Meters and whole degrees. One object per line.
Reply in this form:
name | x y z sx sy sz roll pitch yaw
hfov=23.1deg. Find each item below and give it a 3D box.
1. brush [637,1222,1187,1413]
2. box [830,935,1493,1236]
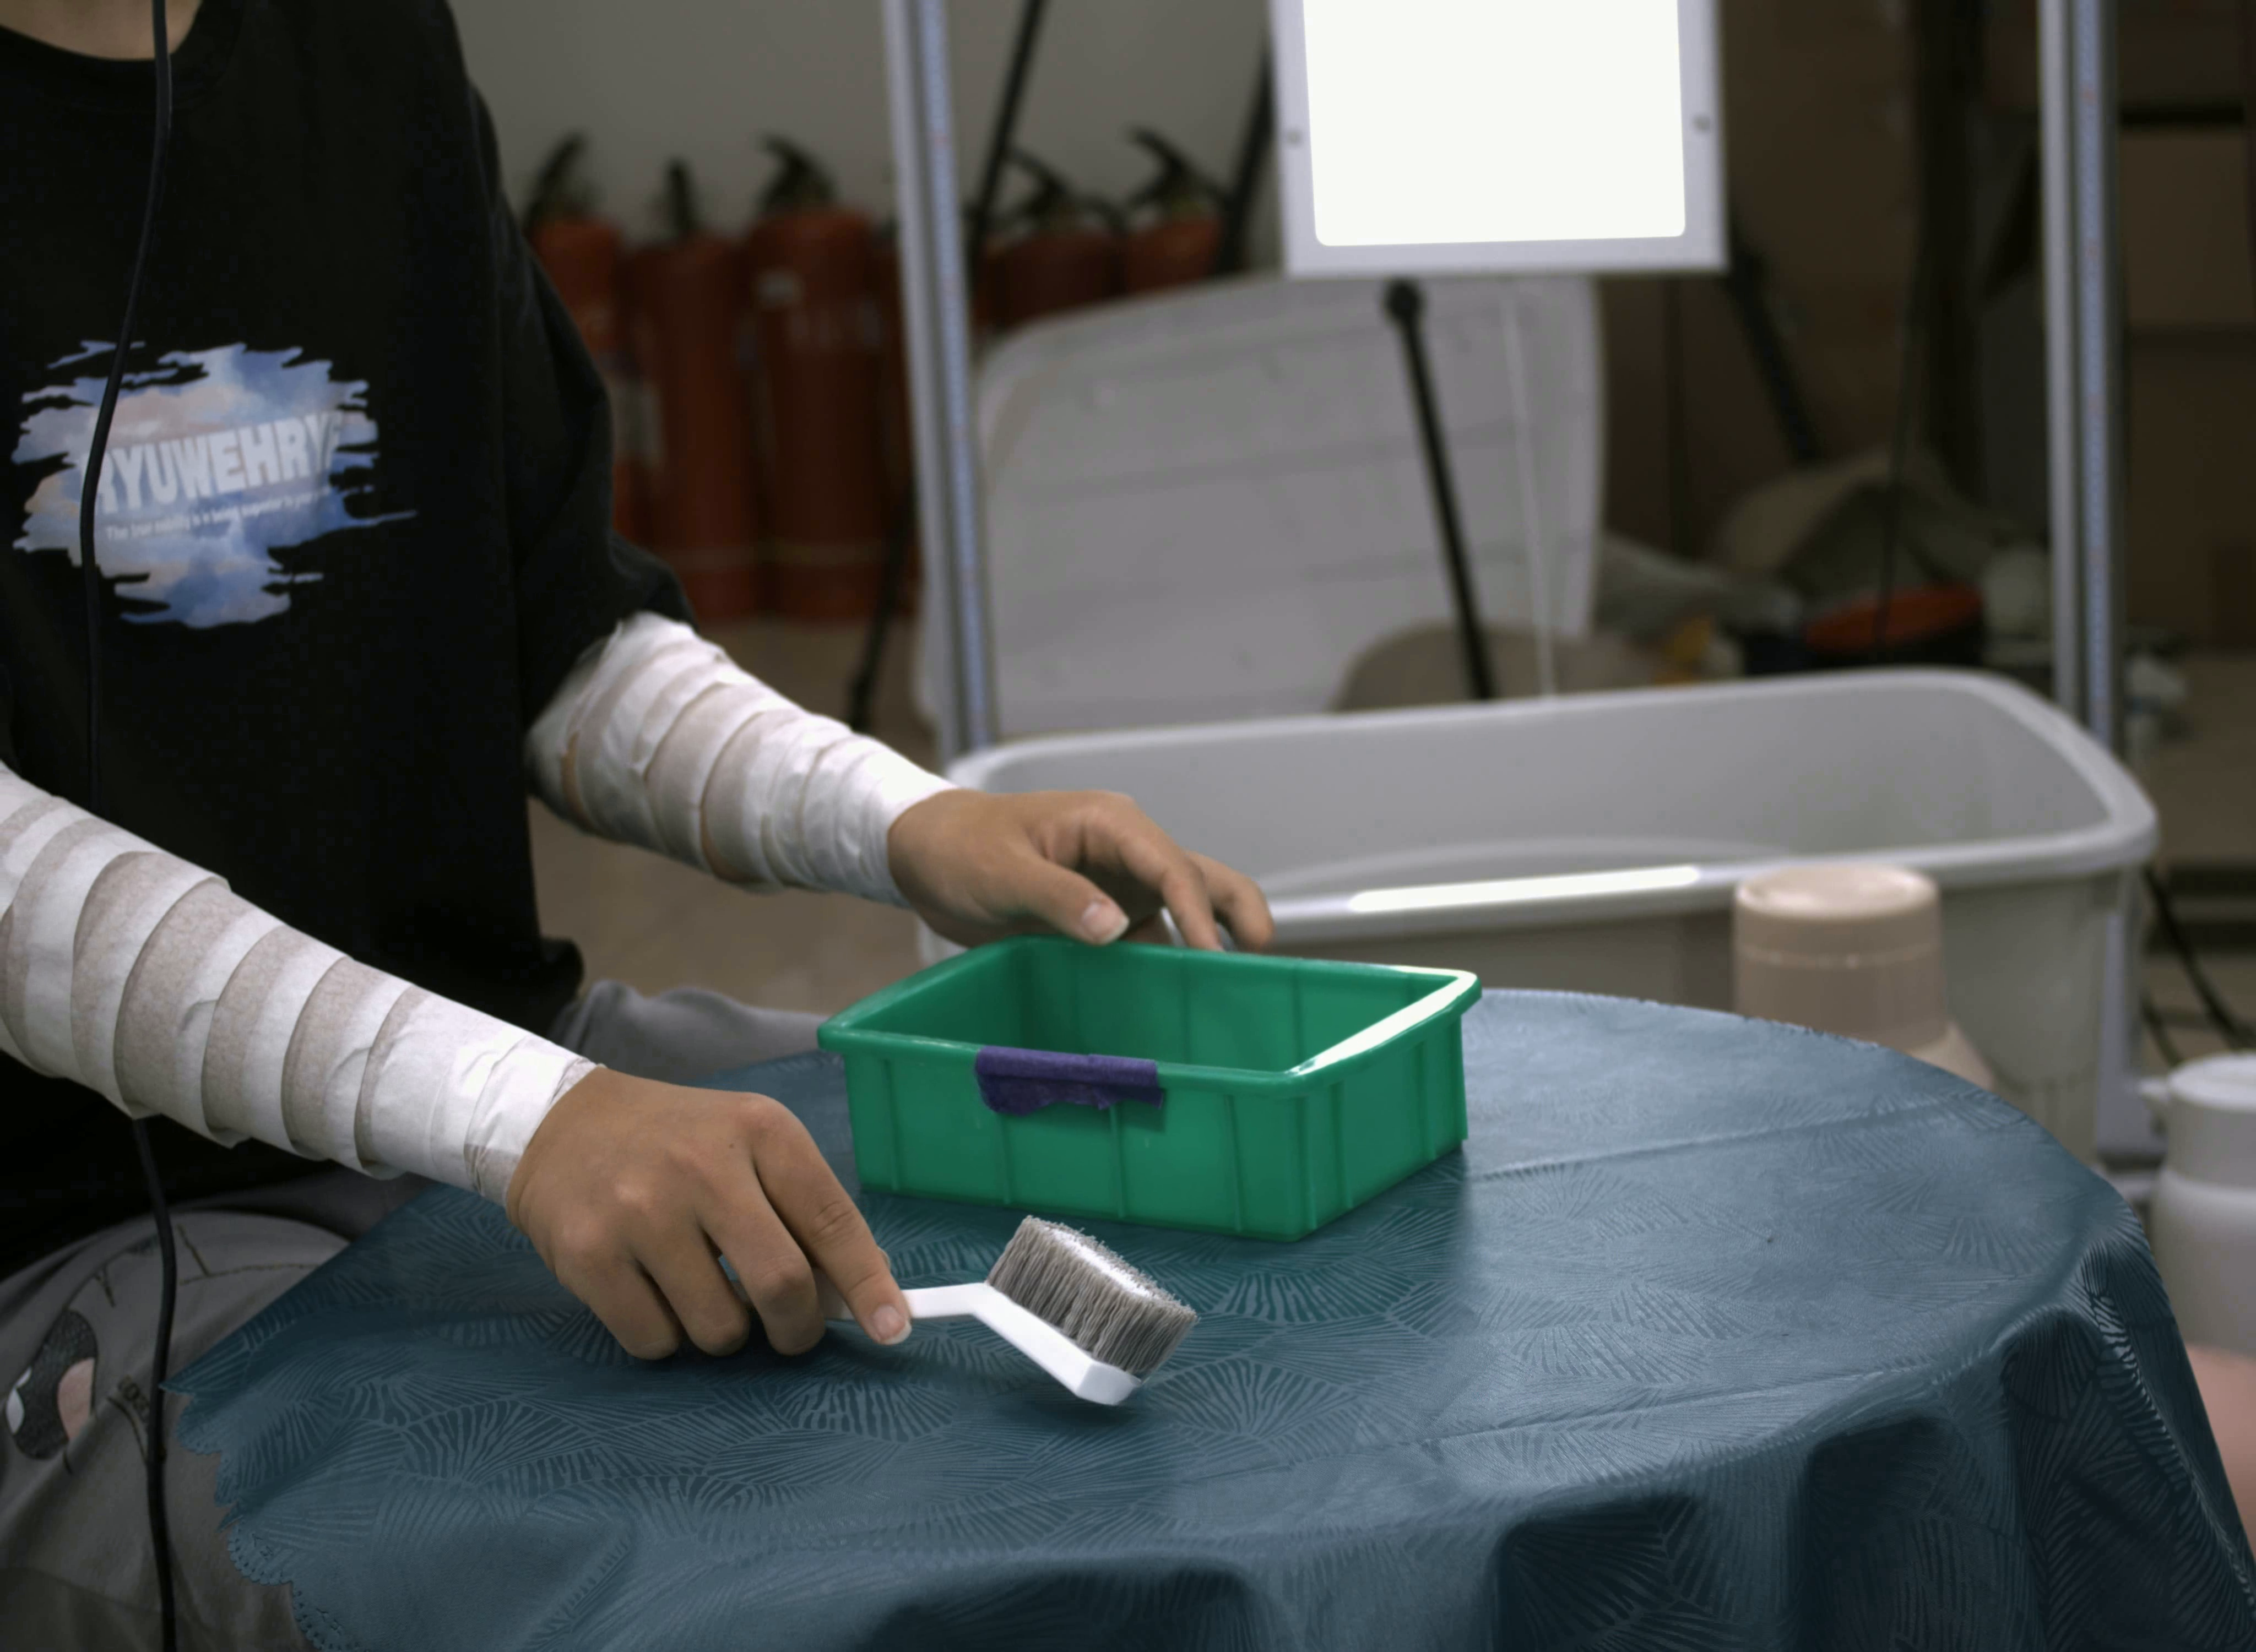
brush | -0.073 0.142 1.756 0.033 0.050 0.249 15 -4 -41
box | 0.015 0.090 1.915 0.215 0.065 0.135 3 18 33
